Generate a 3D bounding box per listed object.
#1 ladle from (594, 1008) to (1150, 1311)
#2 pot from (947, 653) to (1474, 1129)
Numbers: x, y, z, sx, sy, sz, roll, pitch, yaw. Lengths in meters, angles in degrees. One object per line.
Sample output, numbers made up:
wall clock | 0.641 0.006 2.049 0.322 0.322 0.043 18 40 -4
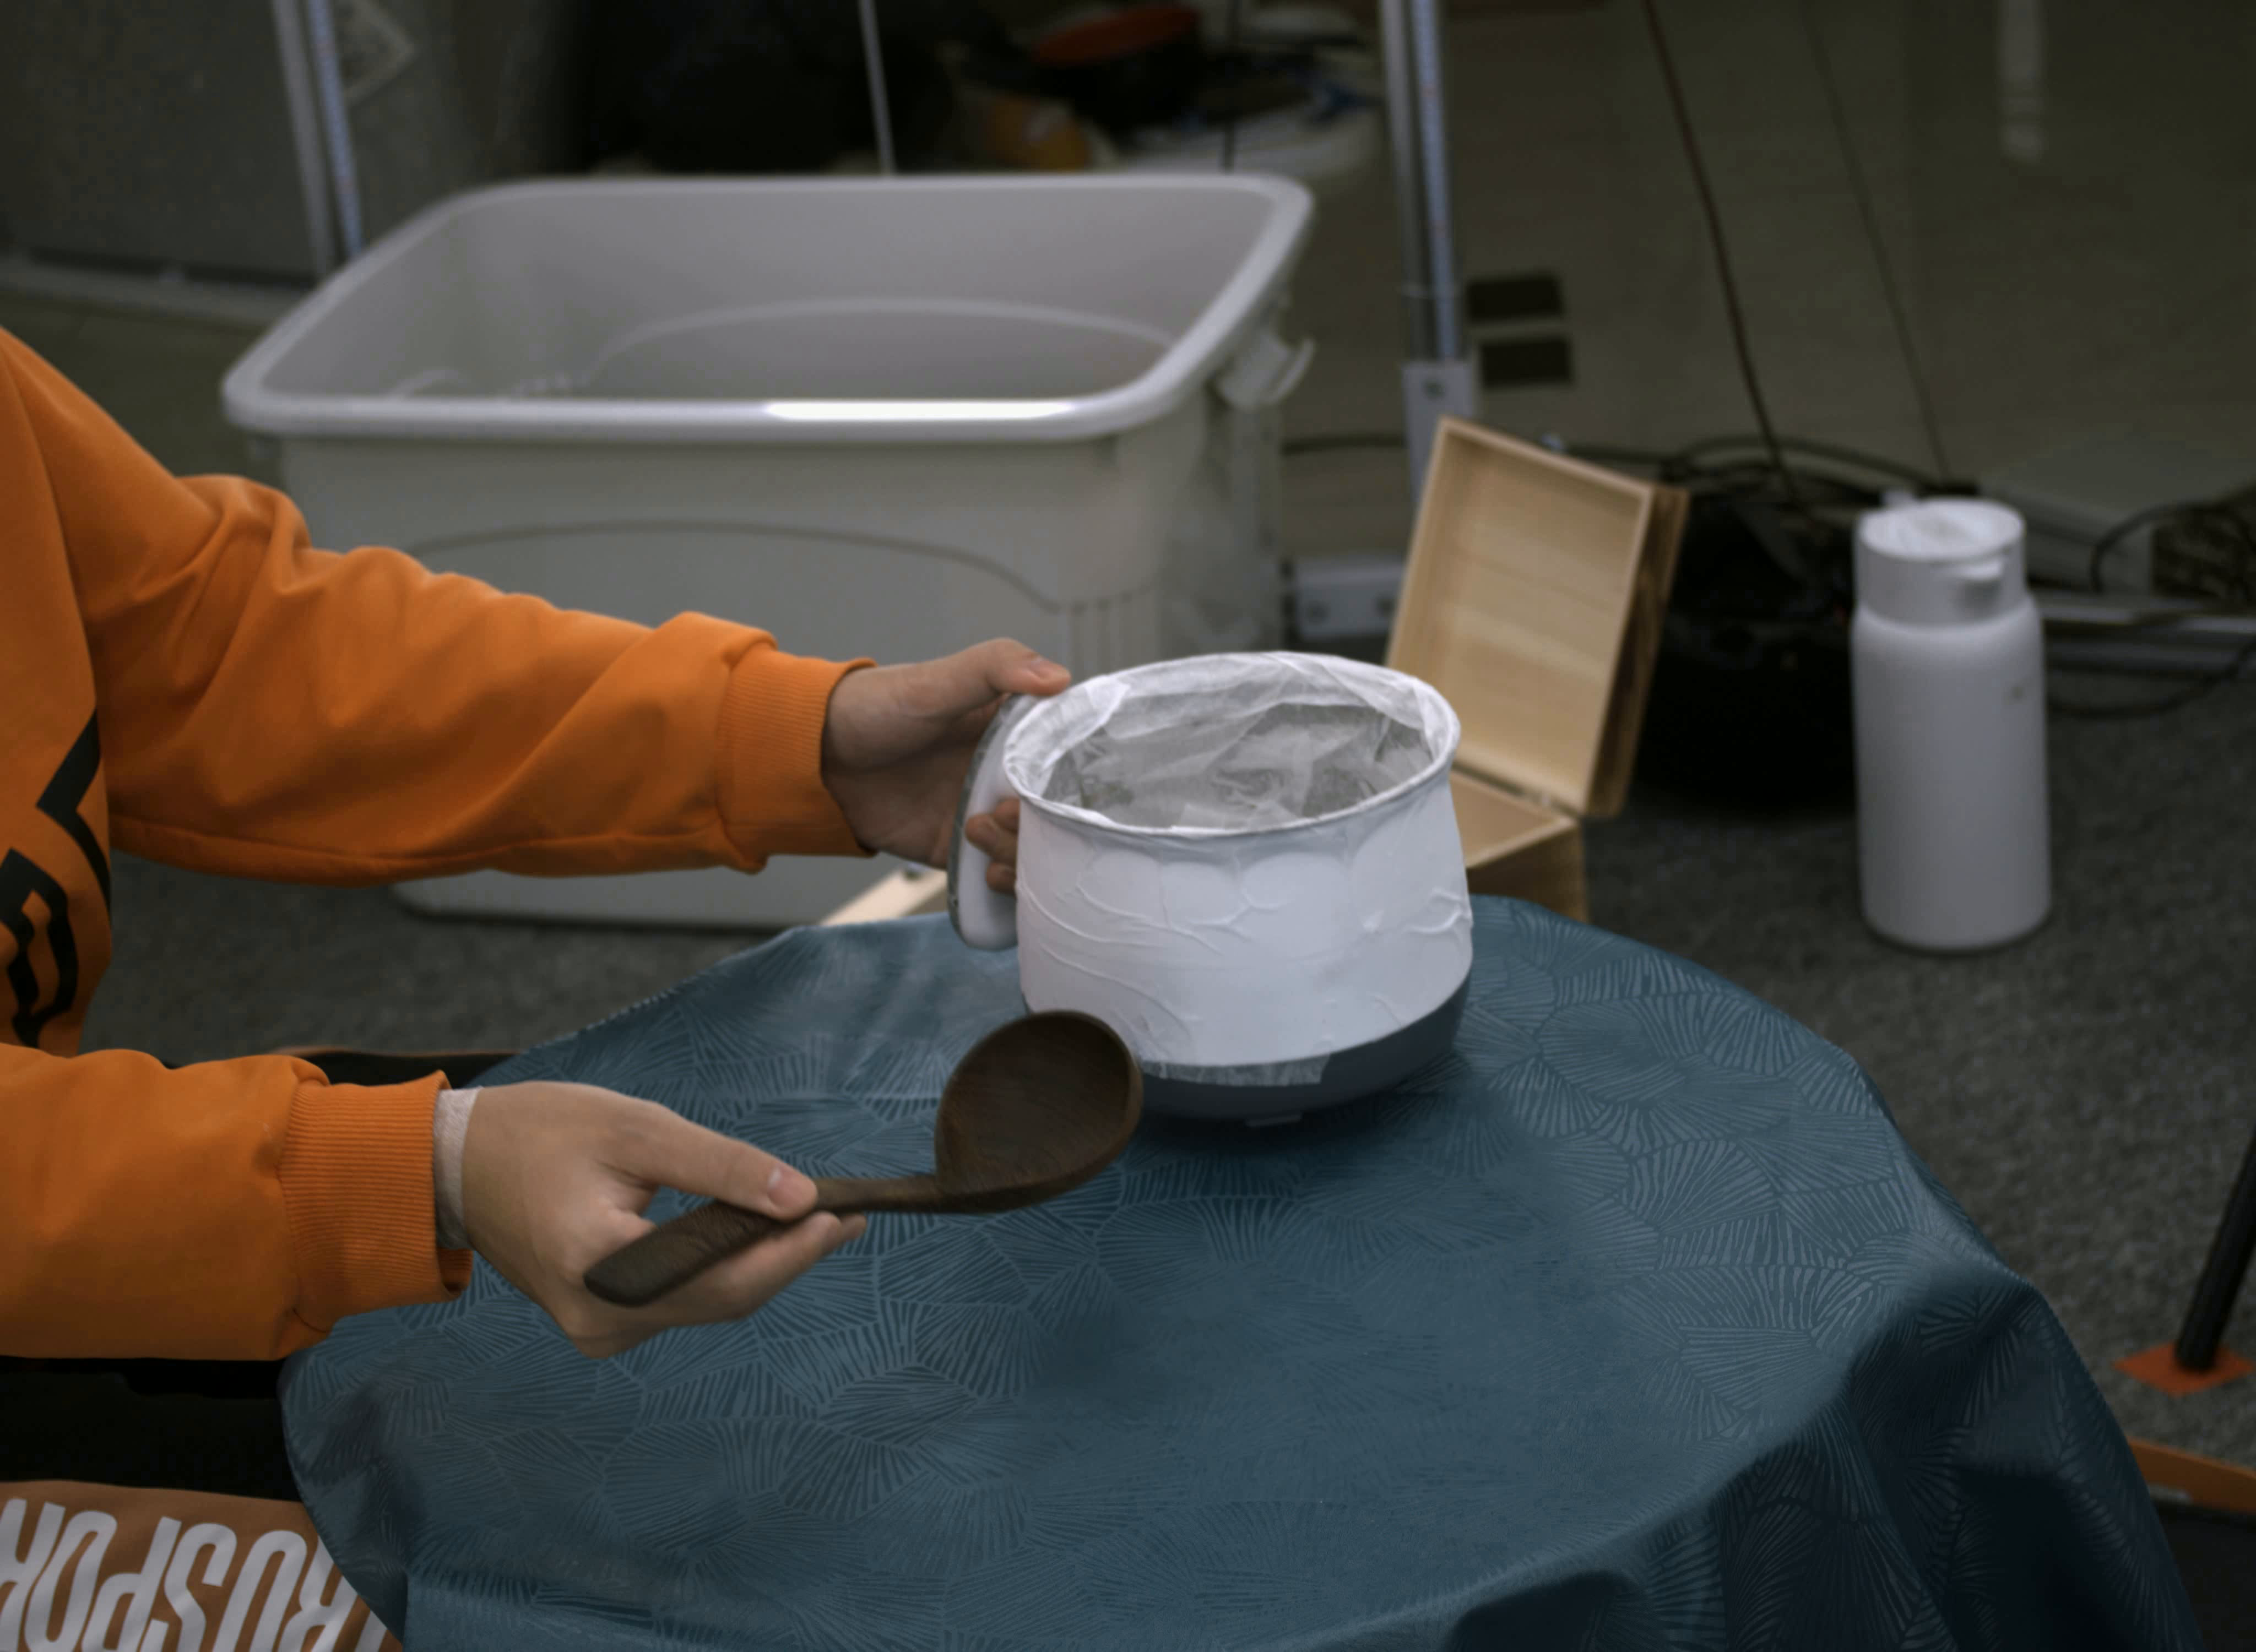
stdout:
ladle | -0.087 0.111 1.939 0.075 0.072 0.273 16 13 31
pot | 0.022 0.020 2.208 0.232 0.139 0.177 14 30 35
